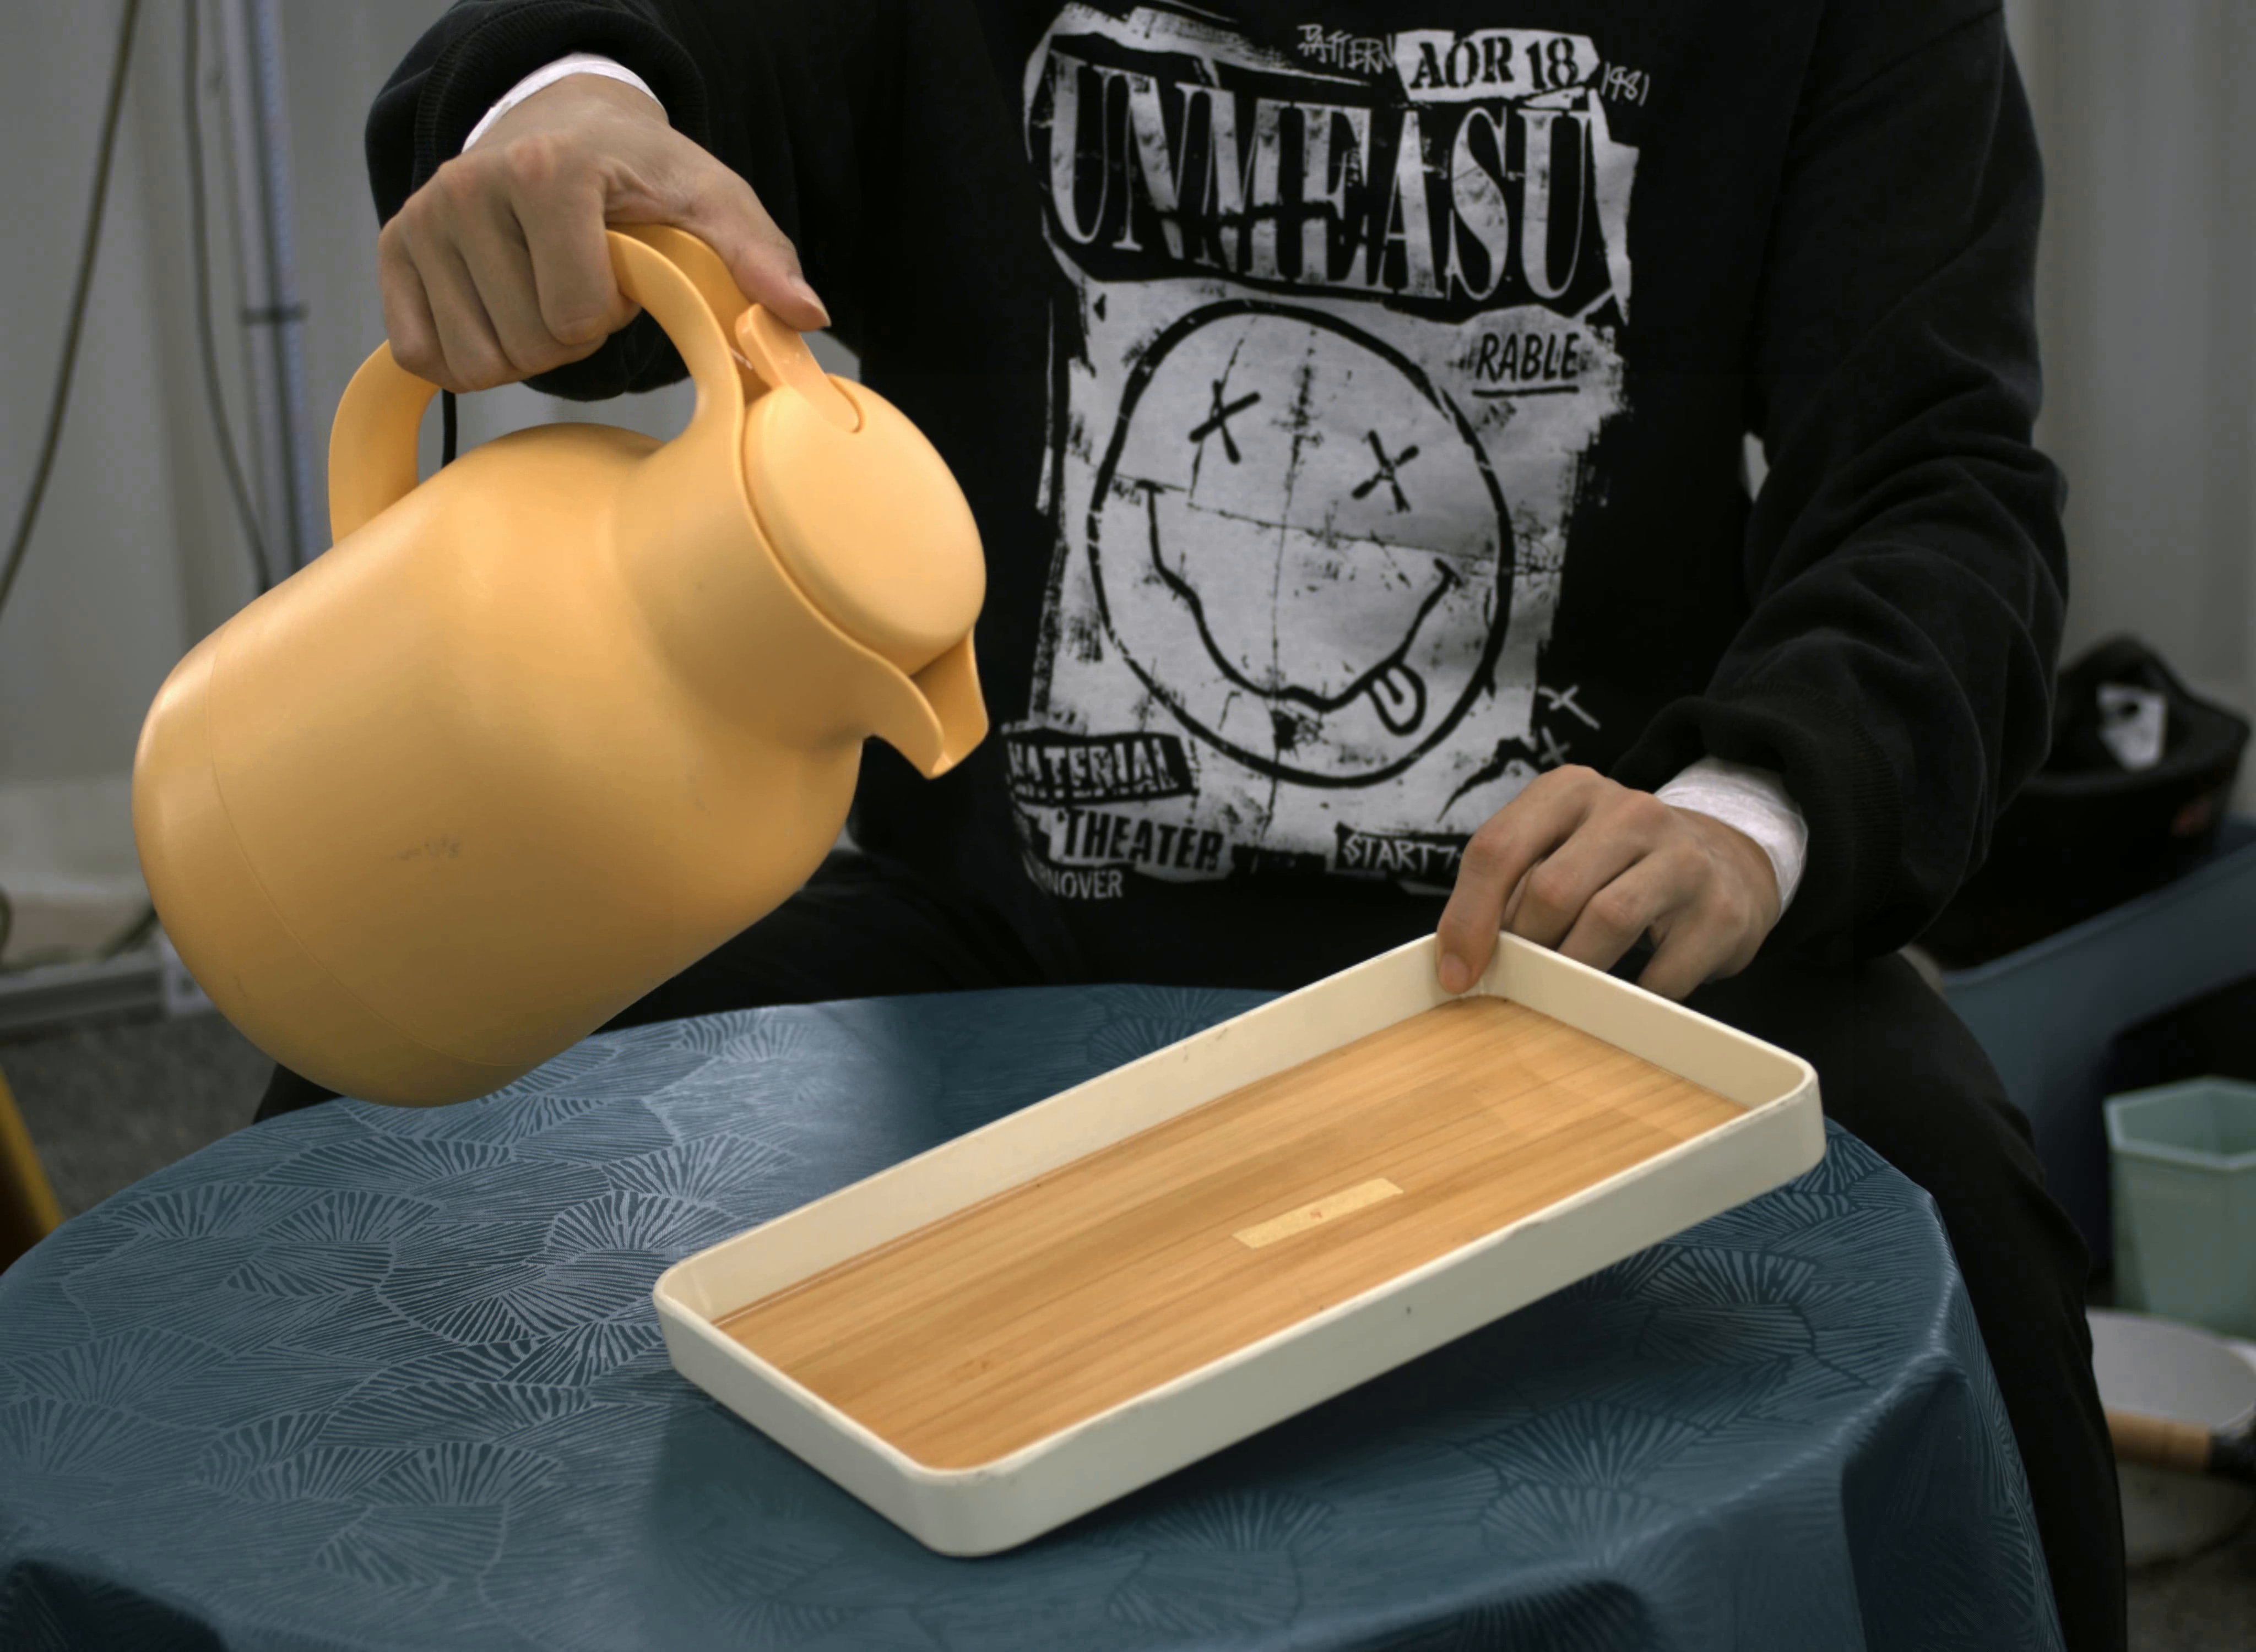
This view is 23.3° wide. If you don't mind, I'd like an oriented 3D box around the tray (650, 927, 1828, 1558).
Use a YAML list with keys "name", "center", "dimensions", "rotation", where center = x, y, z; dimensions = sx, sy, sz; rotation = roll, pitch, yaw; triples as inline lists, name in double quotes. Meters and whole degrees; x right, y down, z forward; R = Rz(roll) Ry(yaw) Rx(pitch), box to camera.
- name: "tray"
  center: [0.031, 0.112, 1.559]
  dimensions: [0.300, 0.027, 0.193]
  rotation: [-22, 23, -25]

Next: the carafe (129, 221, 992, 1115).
- name: "carafe"
  center: [-0.168, -0.051, 1.601]
  dimensions: [0.259, 0.203, 0.163]
  rotation: [-32, -9, 28]
